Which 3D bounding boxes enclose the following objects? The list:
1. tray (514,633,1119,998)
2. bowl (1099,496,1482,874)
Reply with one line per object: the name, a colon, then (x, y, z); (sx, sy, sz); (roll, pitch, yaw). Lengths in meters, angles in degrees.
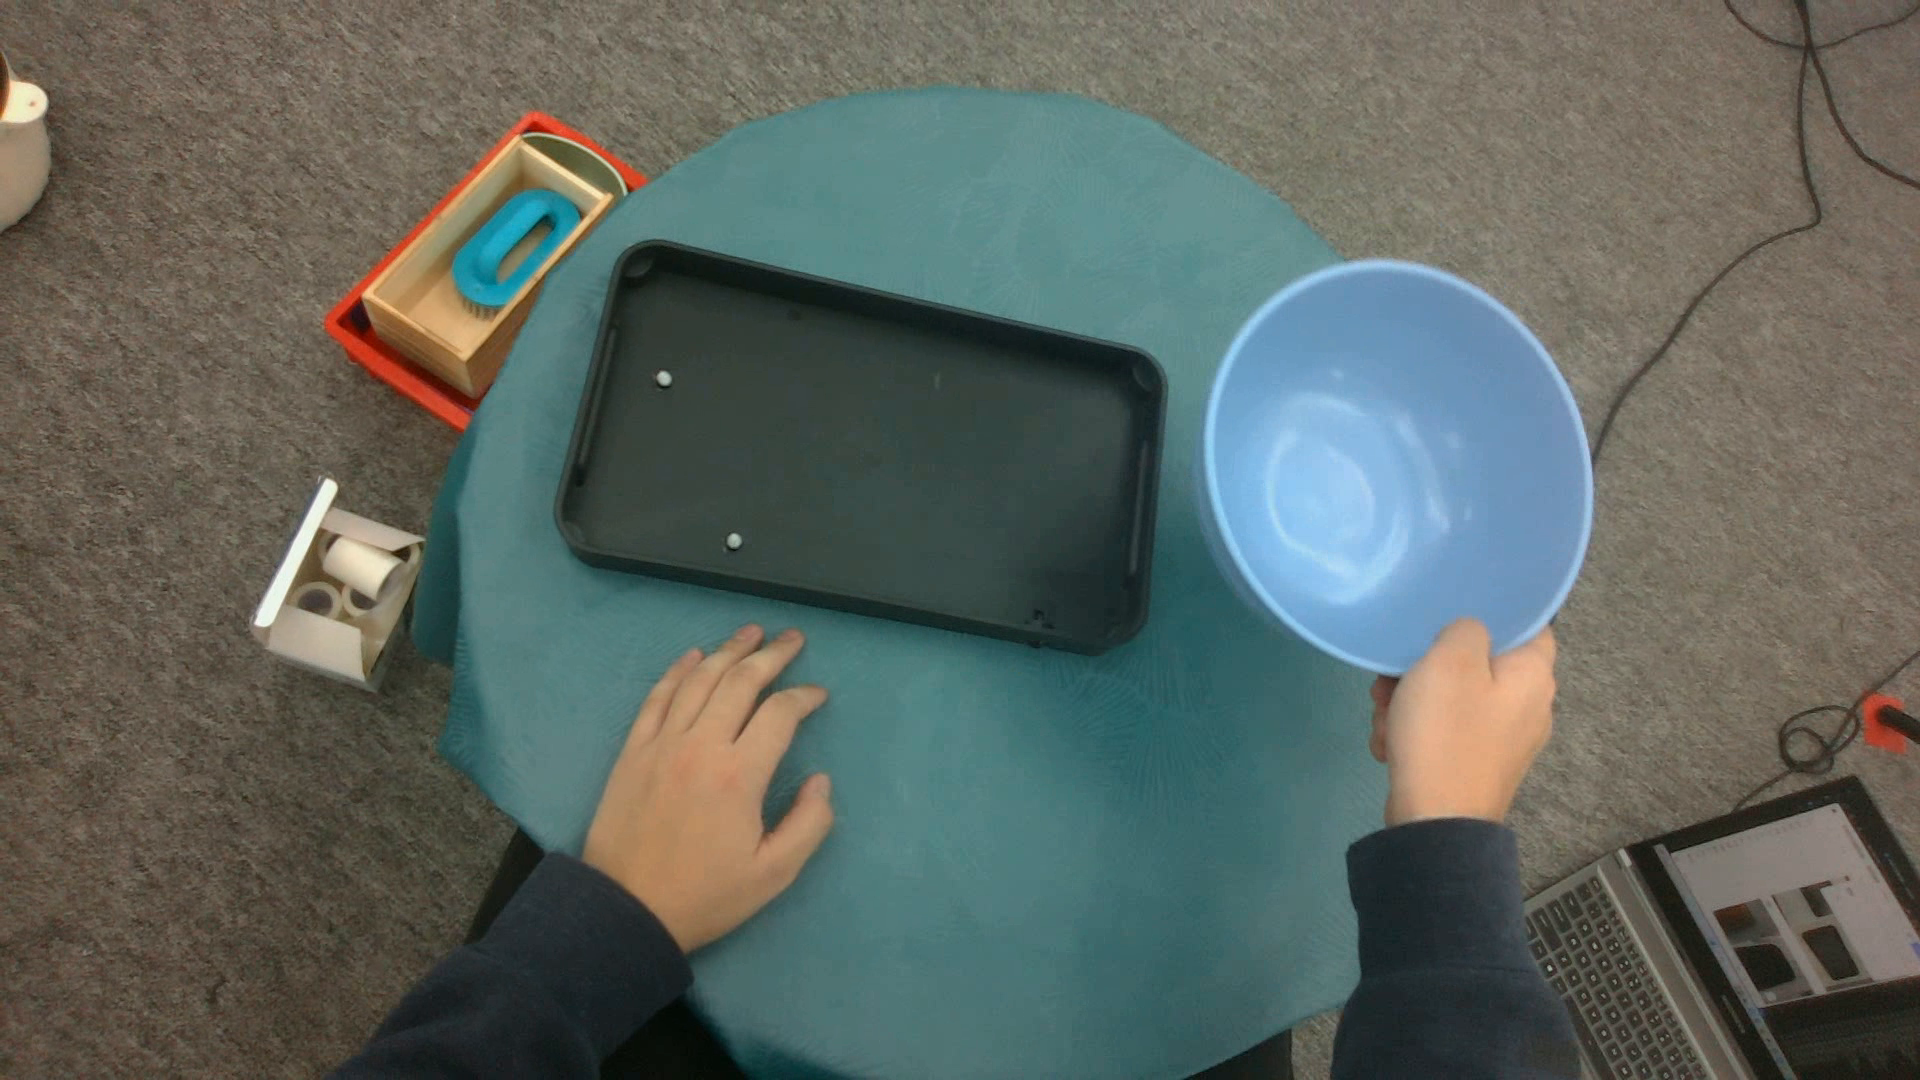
tray: (-0.081, 0.148, 0.773); (0.318, 0.037, 0.185); (-3, 56, -10)
bowl: (0.158, 0.085, 0.718); (0.196, 0.095, 0.197); (4, 63, -9)
